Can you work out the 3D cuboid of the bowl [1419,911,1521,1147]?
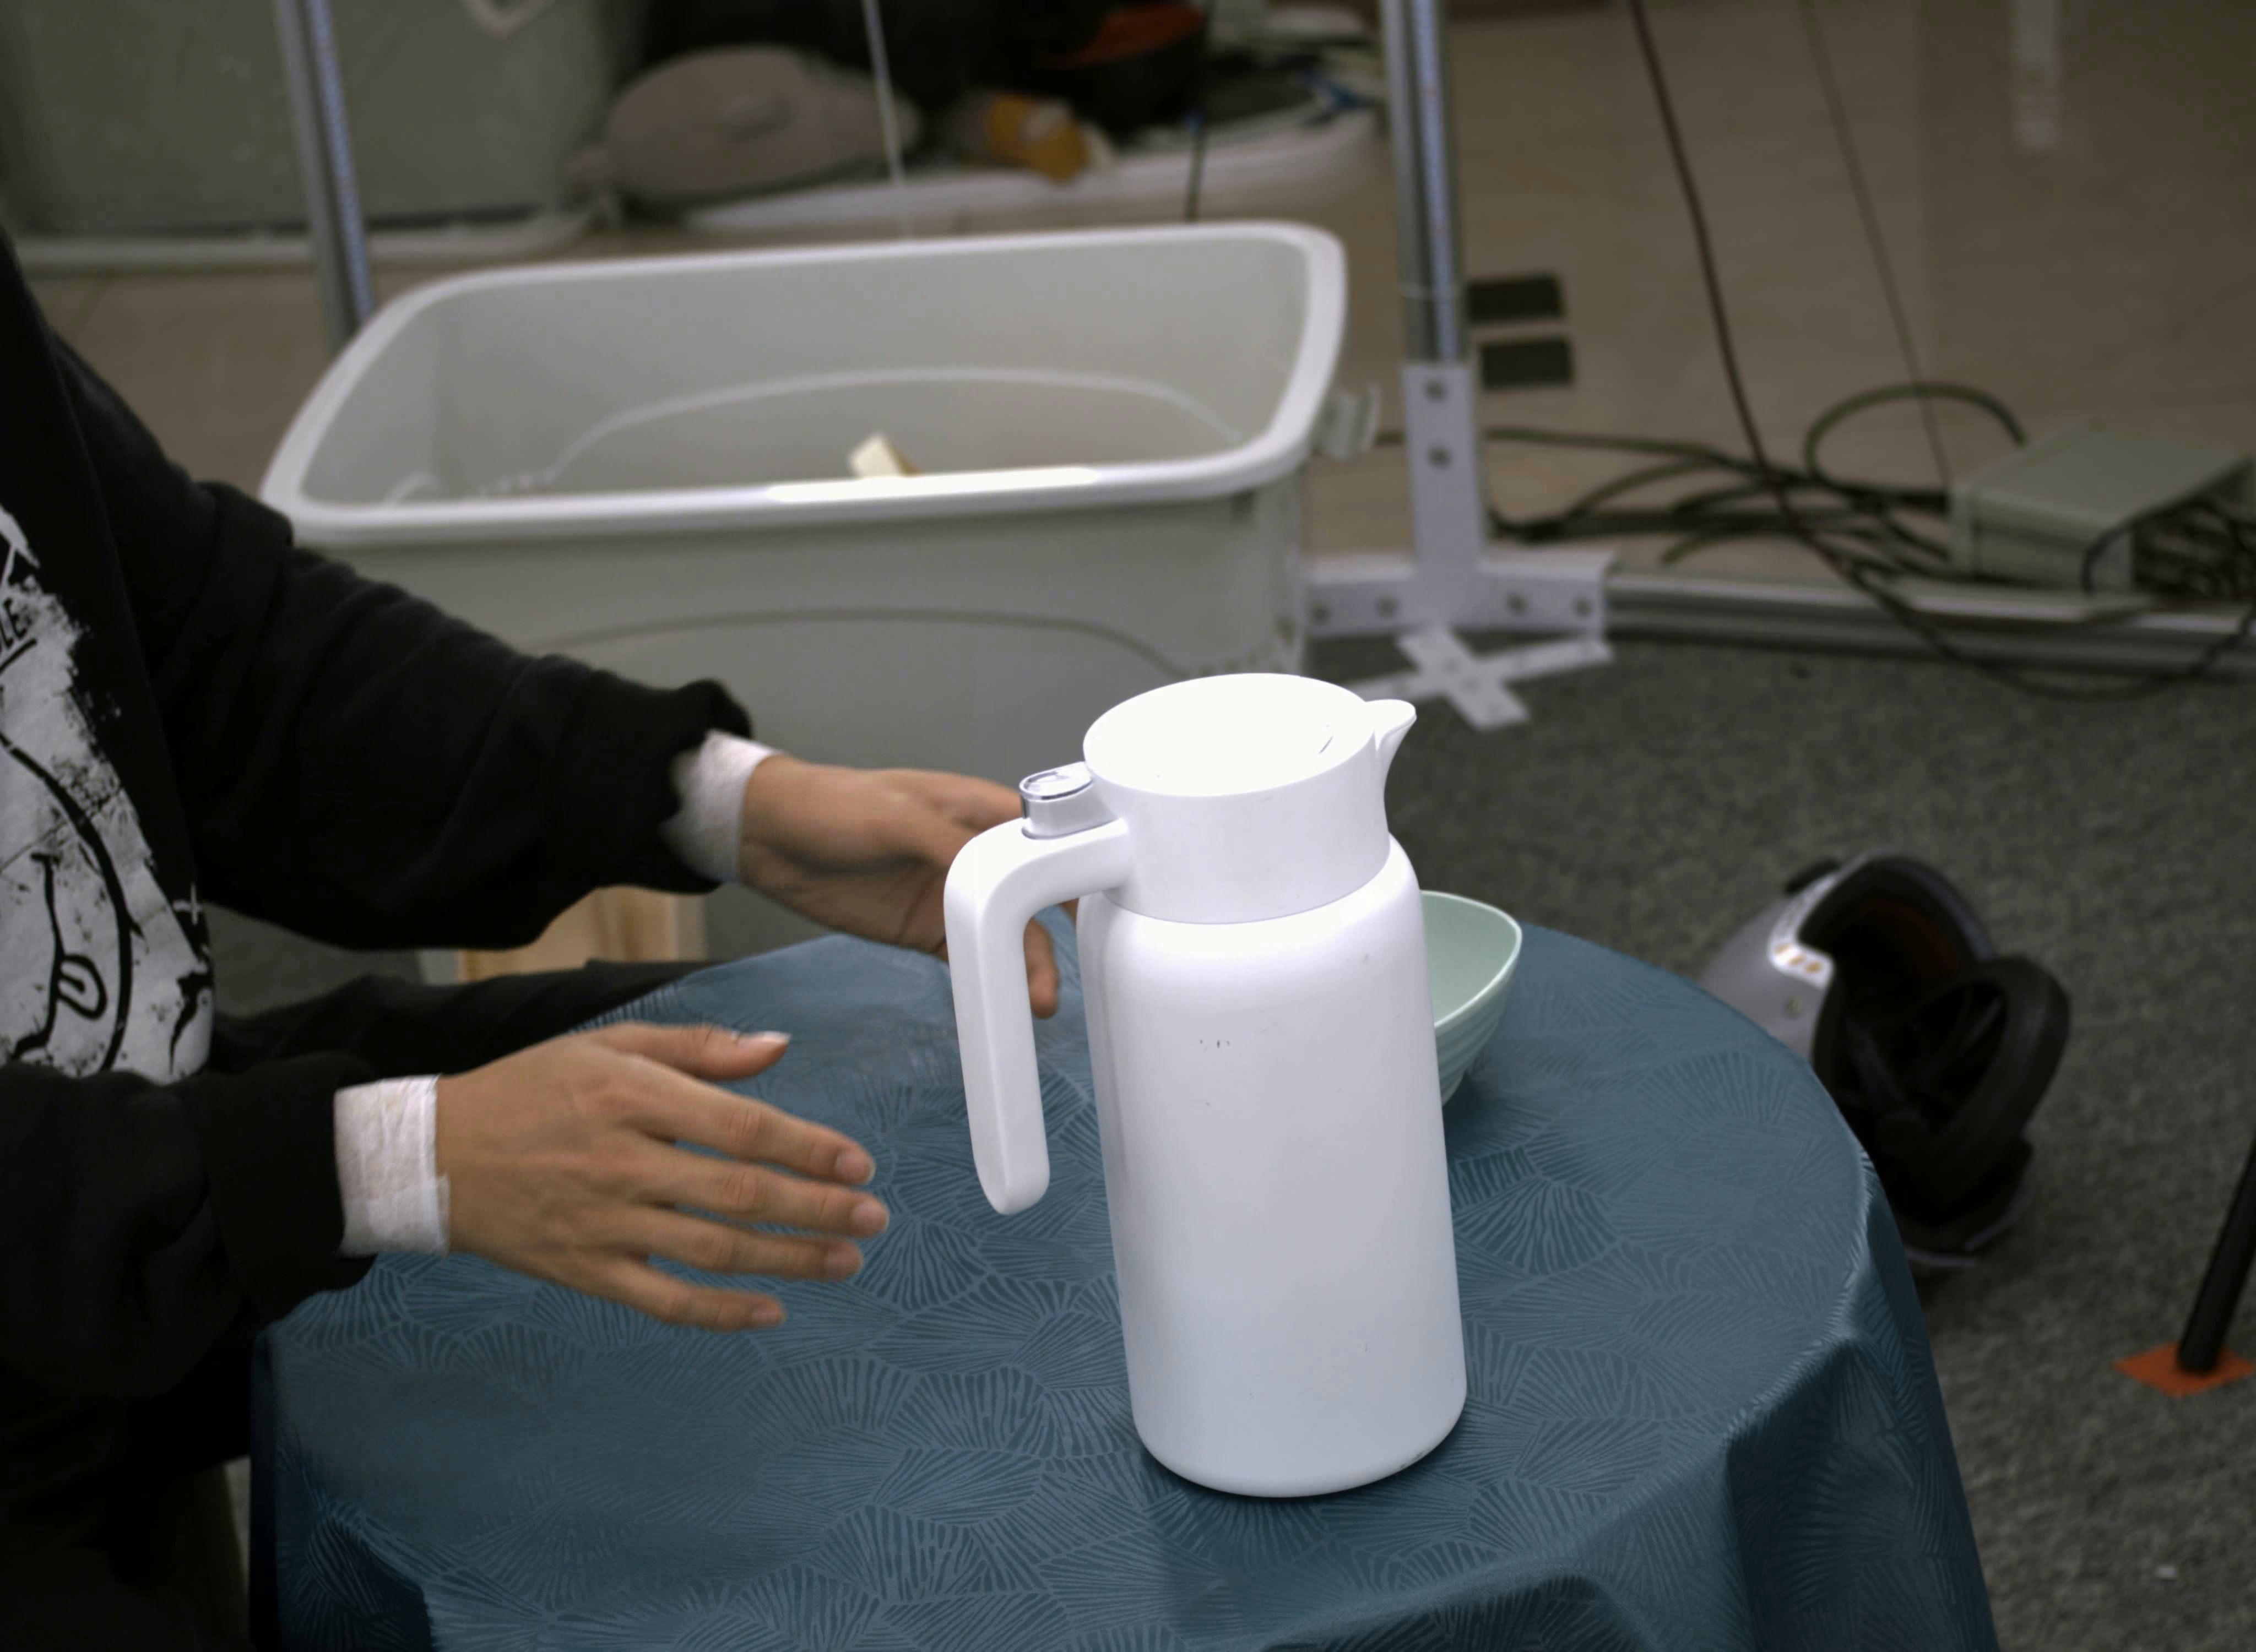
[{"bbox_3d":[0.084,0.088,2.191,0.151,0.059,0.149,-12,23,5],"label":"bowl"}]

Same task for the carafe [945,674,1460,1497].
[{"bbox_3d":[0.031,0.093,1.920,0.172,0.273,0.122,-17,30,-21],"label":"carafe"}]
